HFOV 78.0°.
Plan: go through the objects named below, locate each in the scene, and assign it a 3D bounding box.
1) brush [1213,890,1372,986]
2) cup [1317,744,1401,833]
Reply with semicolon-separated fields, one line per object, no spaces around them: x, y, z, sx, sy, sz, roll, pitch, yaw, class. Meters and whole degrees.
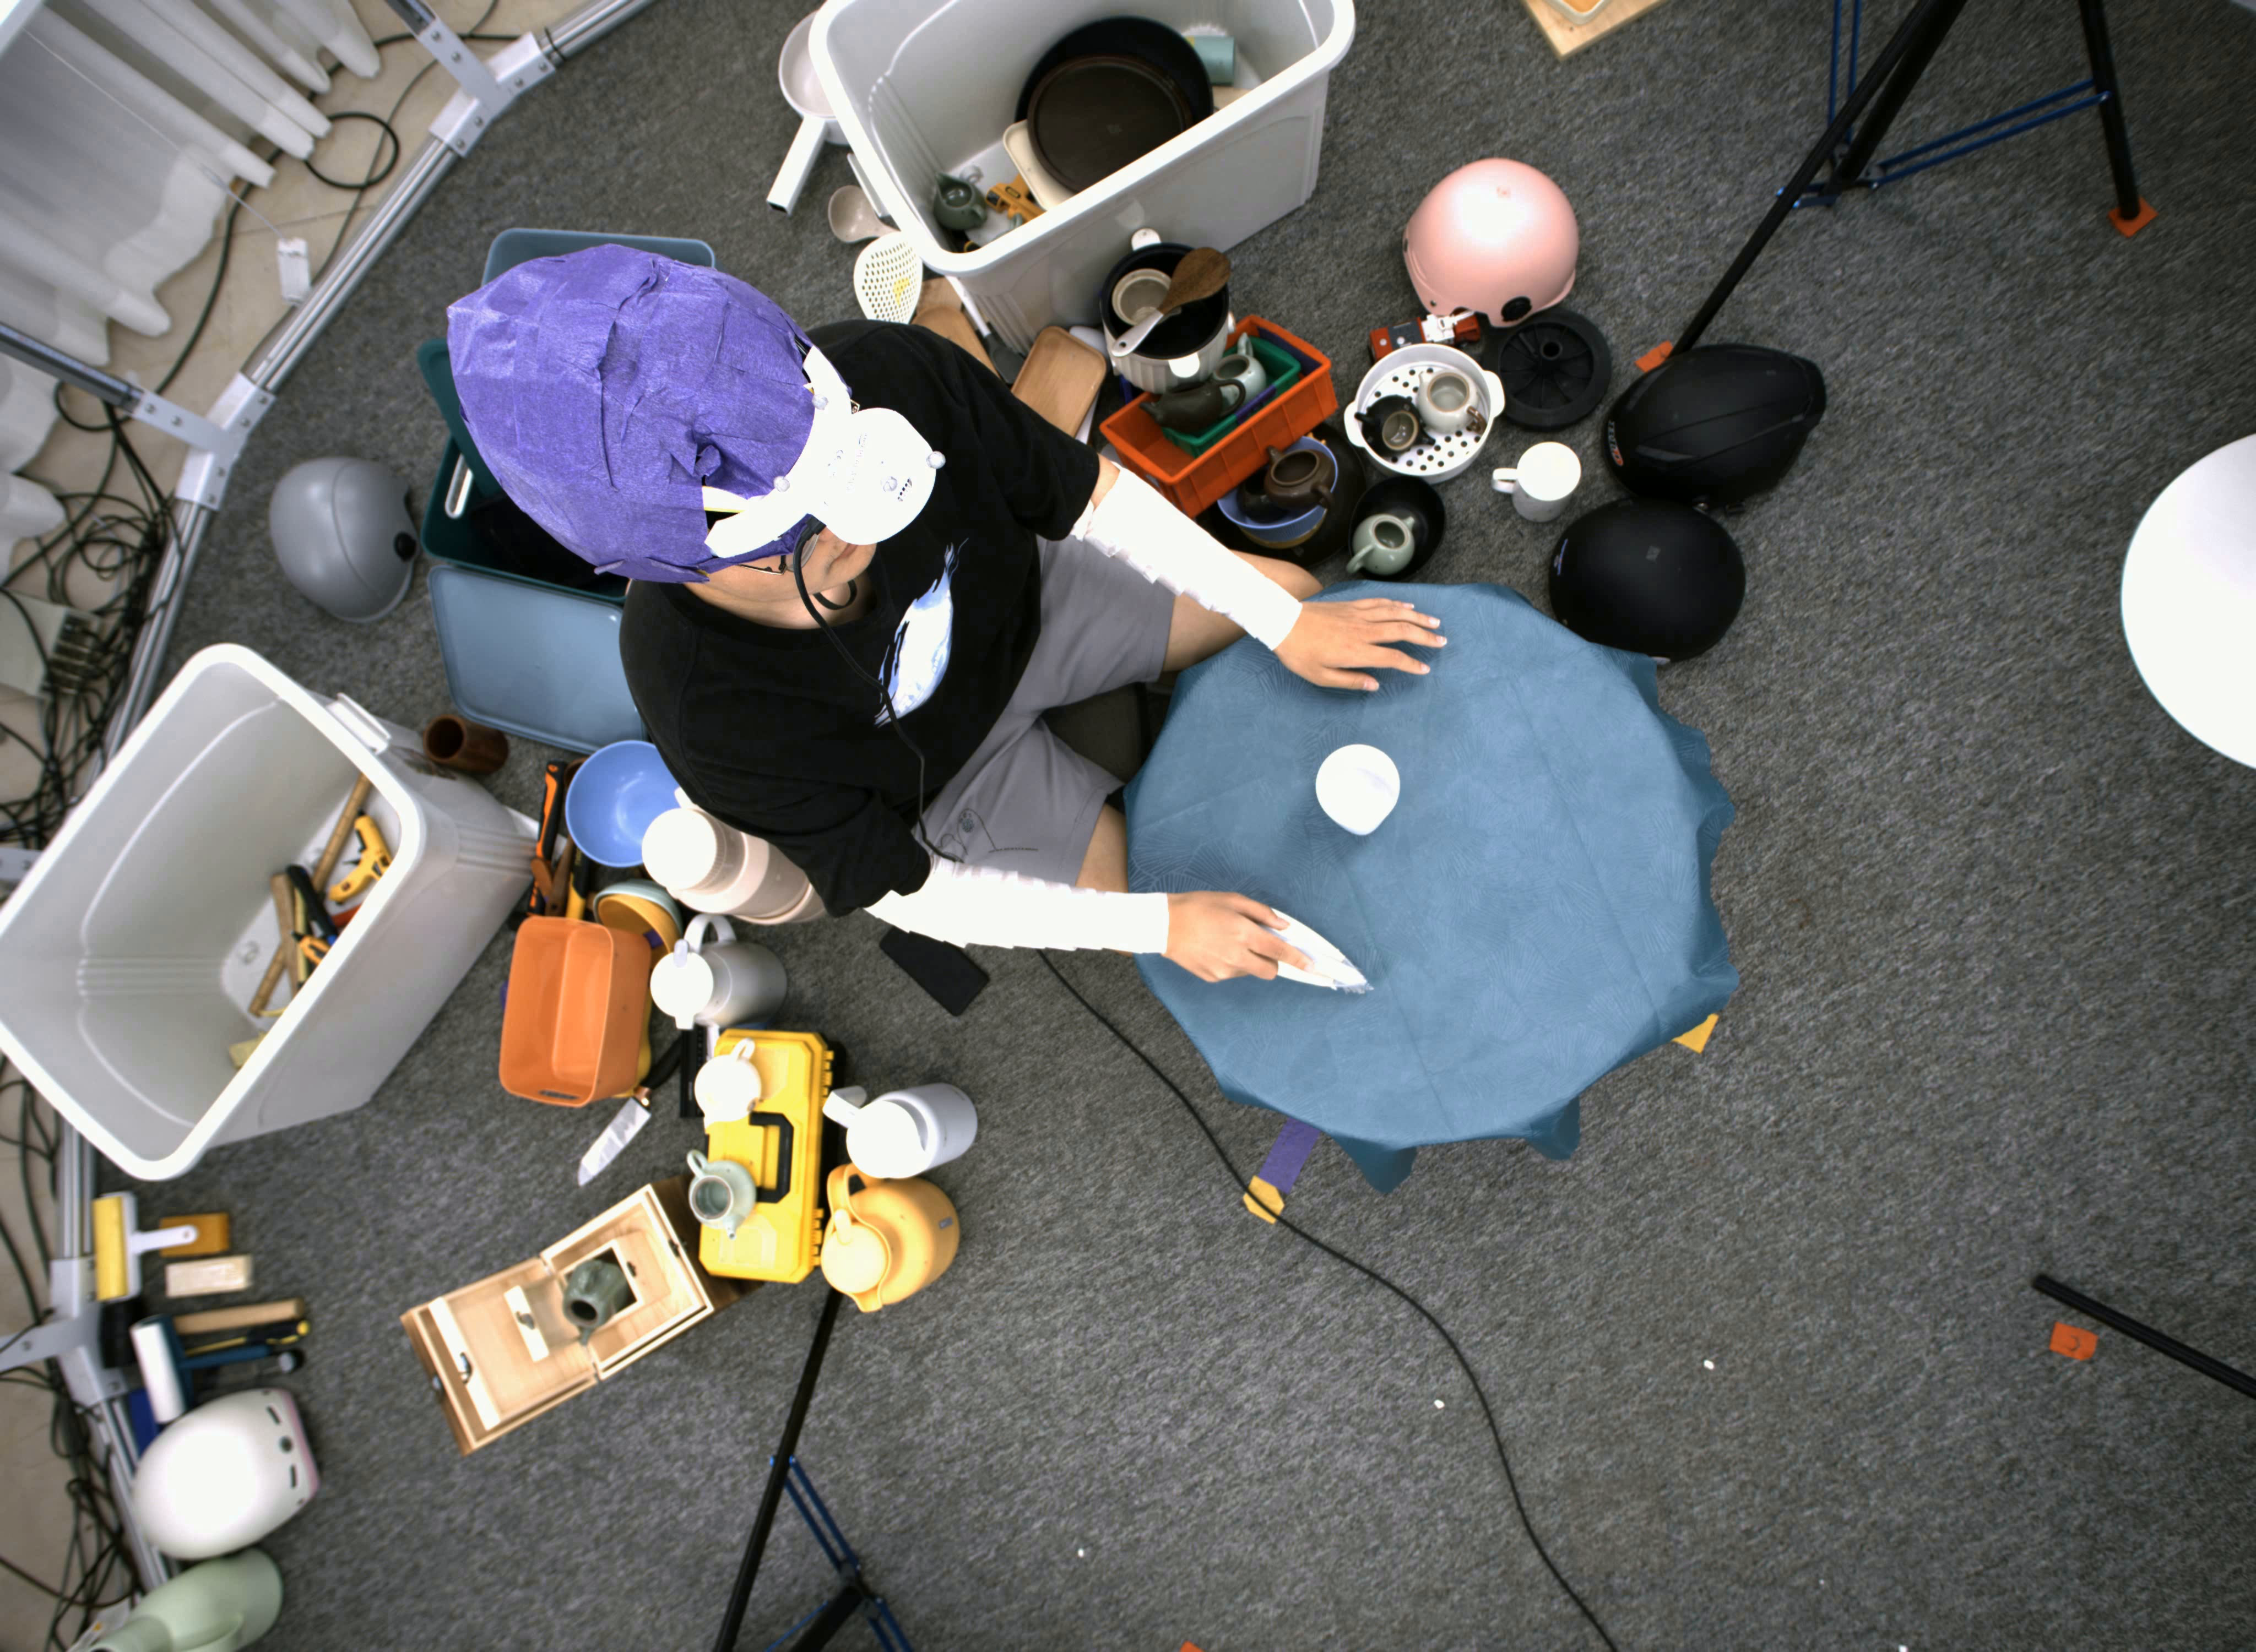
0.167;0.122;1.414;0.175;0.094;0.061;26;94;12;brush
0.235;-0.036;1.407;0.082;0.125;0.081;-1;86;9;cup
